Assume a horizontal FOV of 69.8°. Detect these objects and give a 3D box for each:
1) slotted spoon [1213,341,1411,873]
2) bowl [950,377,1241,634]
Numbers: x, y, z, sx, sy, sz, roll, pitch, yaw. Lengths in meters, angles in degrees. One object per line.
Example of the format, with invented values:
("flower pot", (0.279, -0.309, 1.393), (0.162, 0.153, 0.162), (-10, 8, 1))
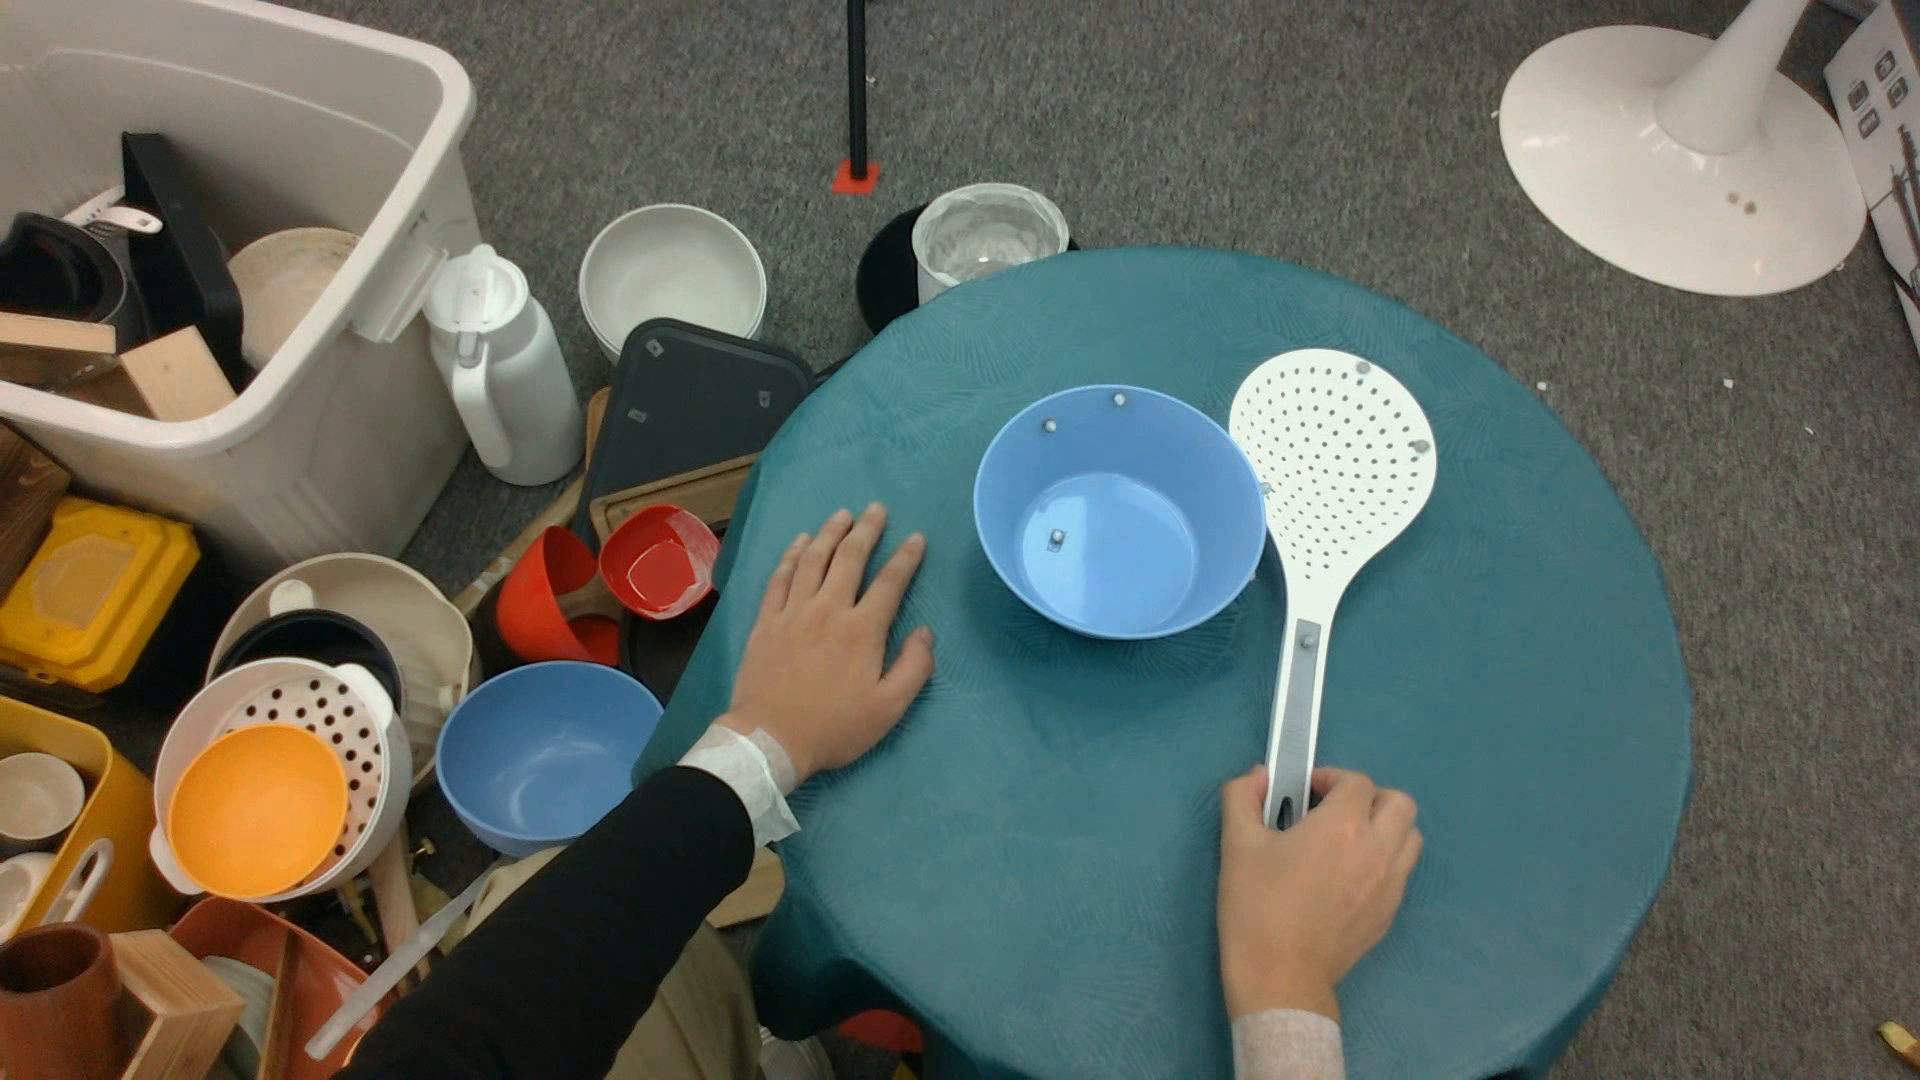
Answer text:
("slotted spoon", (0.203, 0.031, 0.849), (0.136, 0.045, 0.351), (16, 61, -6))
("bowl", (0.080, -0.010, 0.849), (0.176, 0.070, 0.177), (2, 62, -3))
